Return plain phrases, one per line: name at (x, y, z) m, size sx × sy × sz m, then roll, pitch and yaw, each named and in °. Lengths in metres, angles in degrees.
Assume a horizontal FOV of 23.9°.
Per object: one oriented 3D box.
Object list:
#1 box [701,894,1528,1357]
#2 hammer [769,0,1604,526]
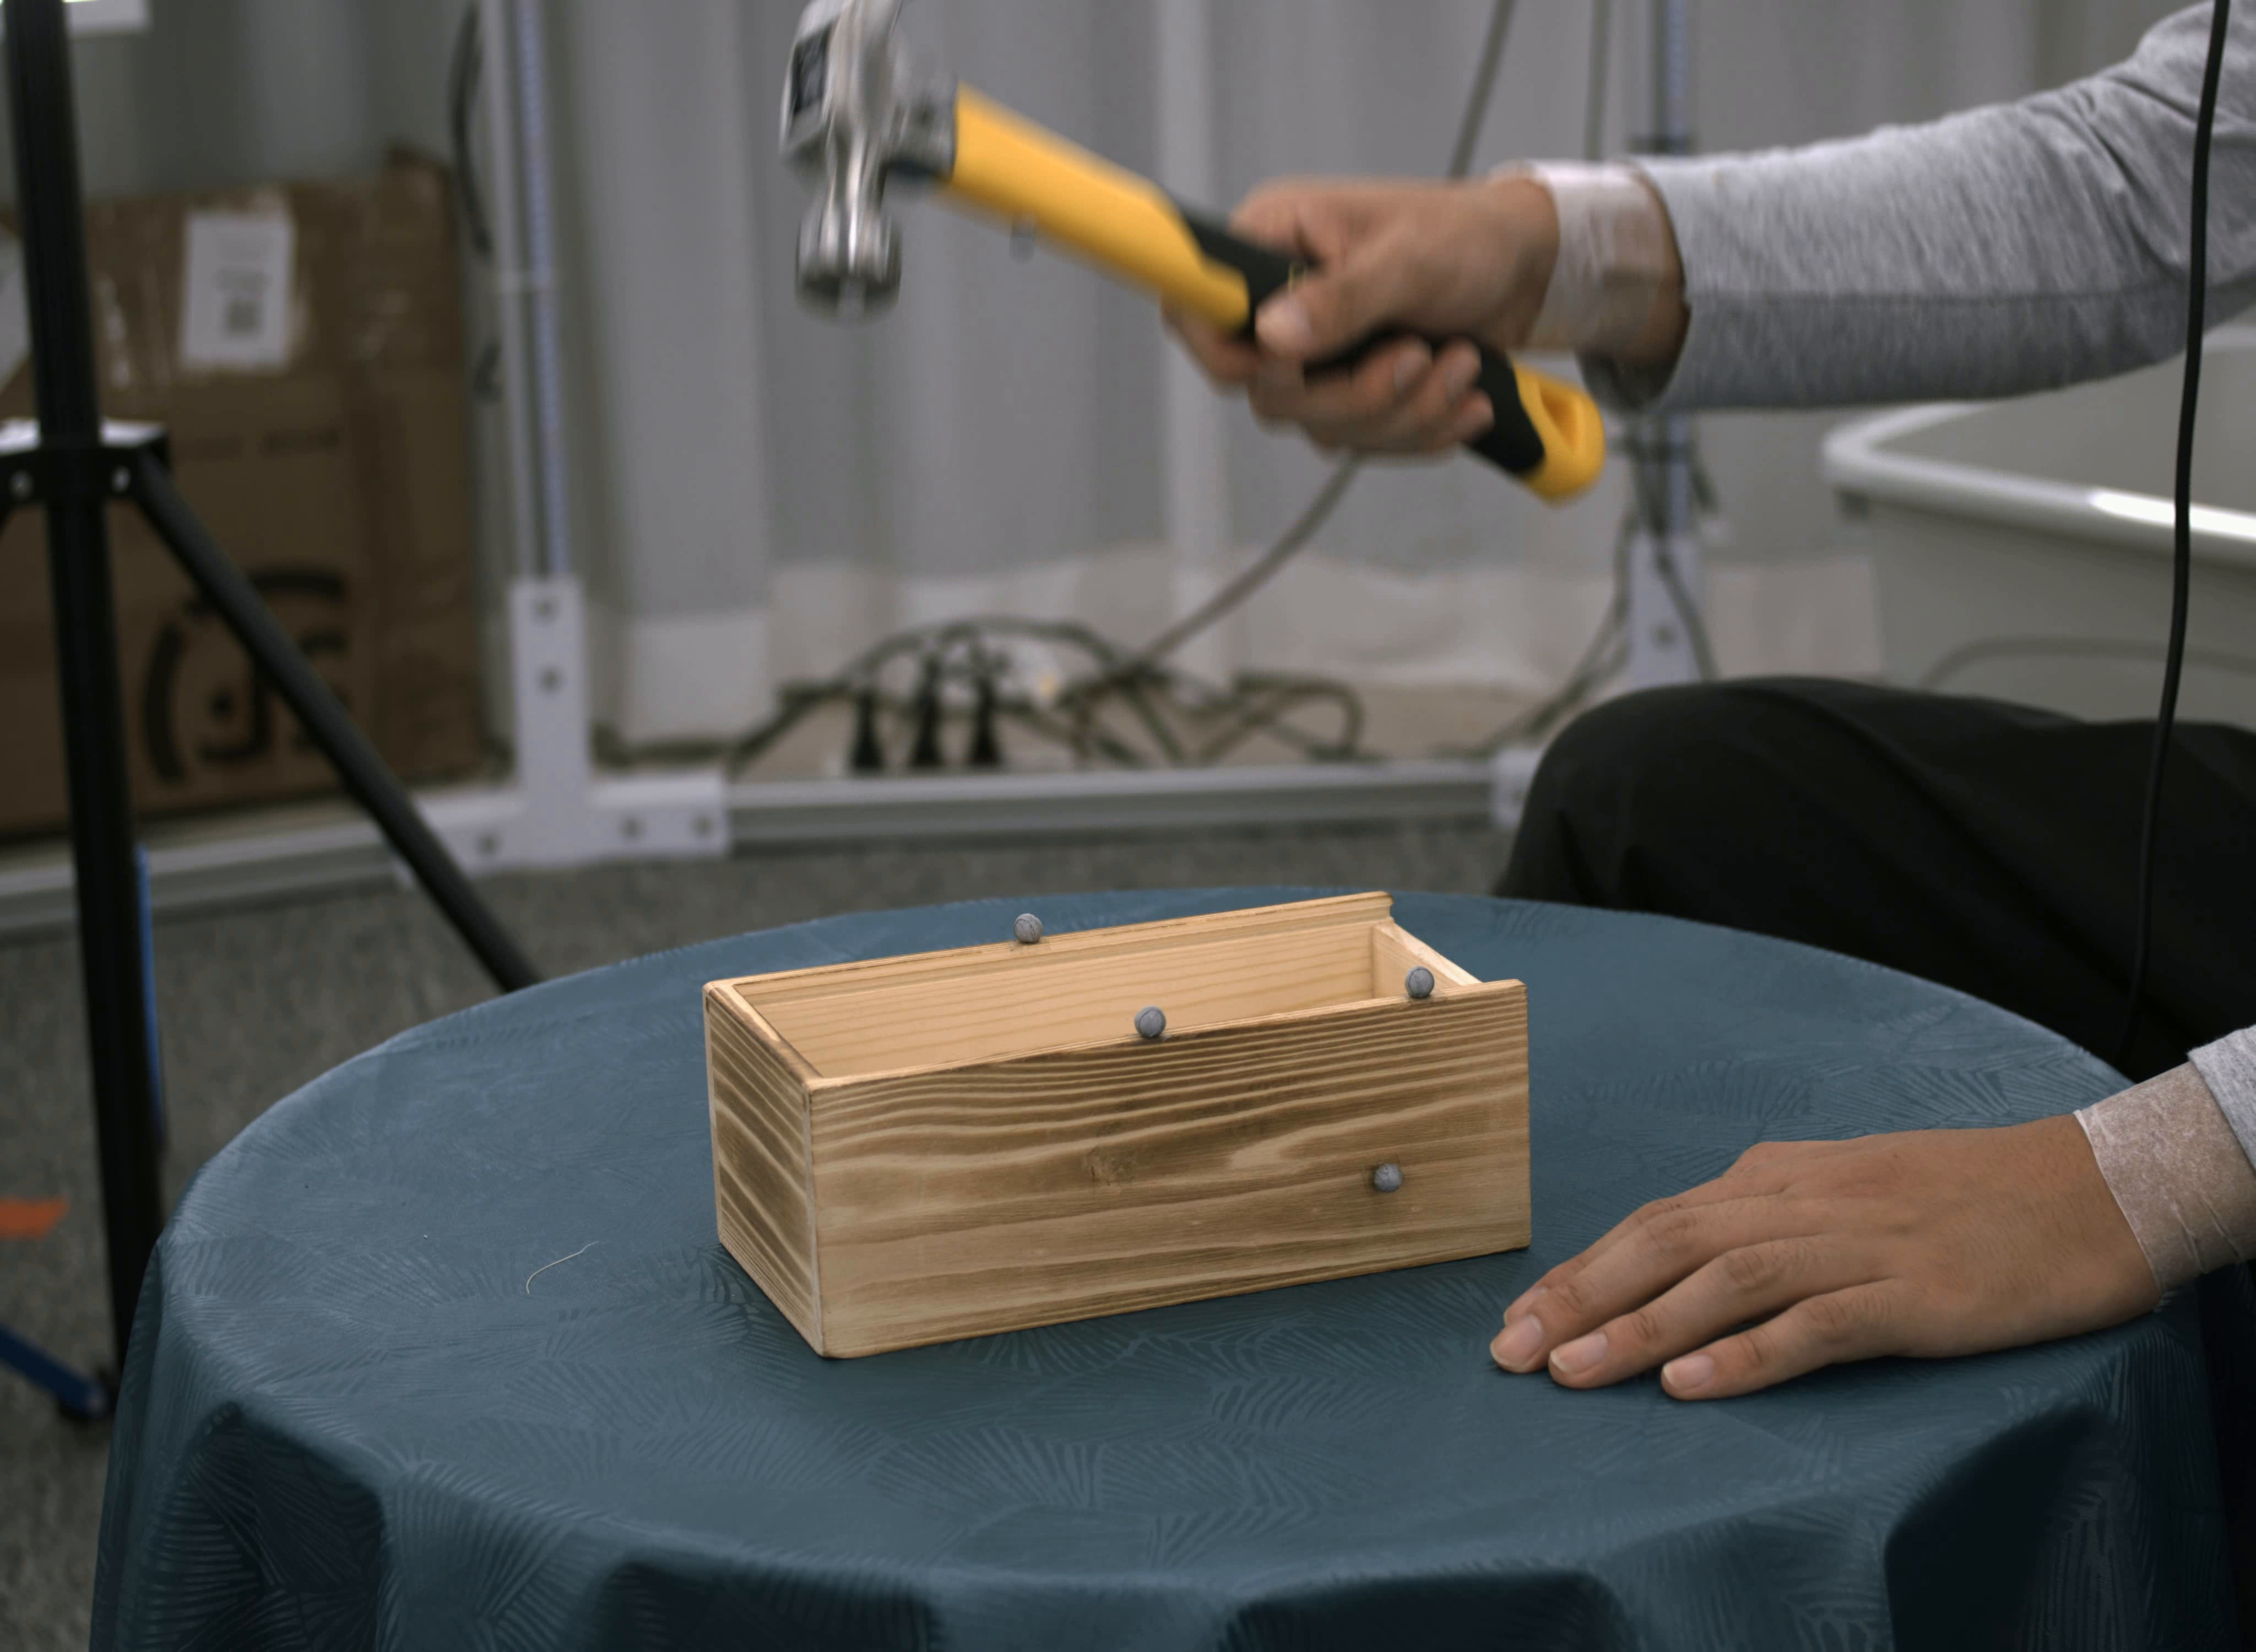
box at (-0.004, 0.082, 1.503) m, size 0.208 × 0.080 × 0.109 m, roll -8°, pitch 16°, yaw -17°
hammer at (0.027, -0.159, 1.637) m, size 0.329 × 0.133 × 0.033 m, roll 20°, pitch -36°, yaw -37°
